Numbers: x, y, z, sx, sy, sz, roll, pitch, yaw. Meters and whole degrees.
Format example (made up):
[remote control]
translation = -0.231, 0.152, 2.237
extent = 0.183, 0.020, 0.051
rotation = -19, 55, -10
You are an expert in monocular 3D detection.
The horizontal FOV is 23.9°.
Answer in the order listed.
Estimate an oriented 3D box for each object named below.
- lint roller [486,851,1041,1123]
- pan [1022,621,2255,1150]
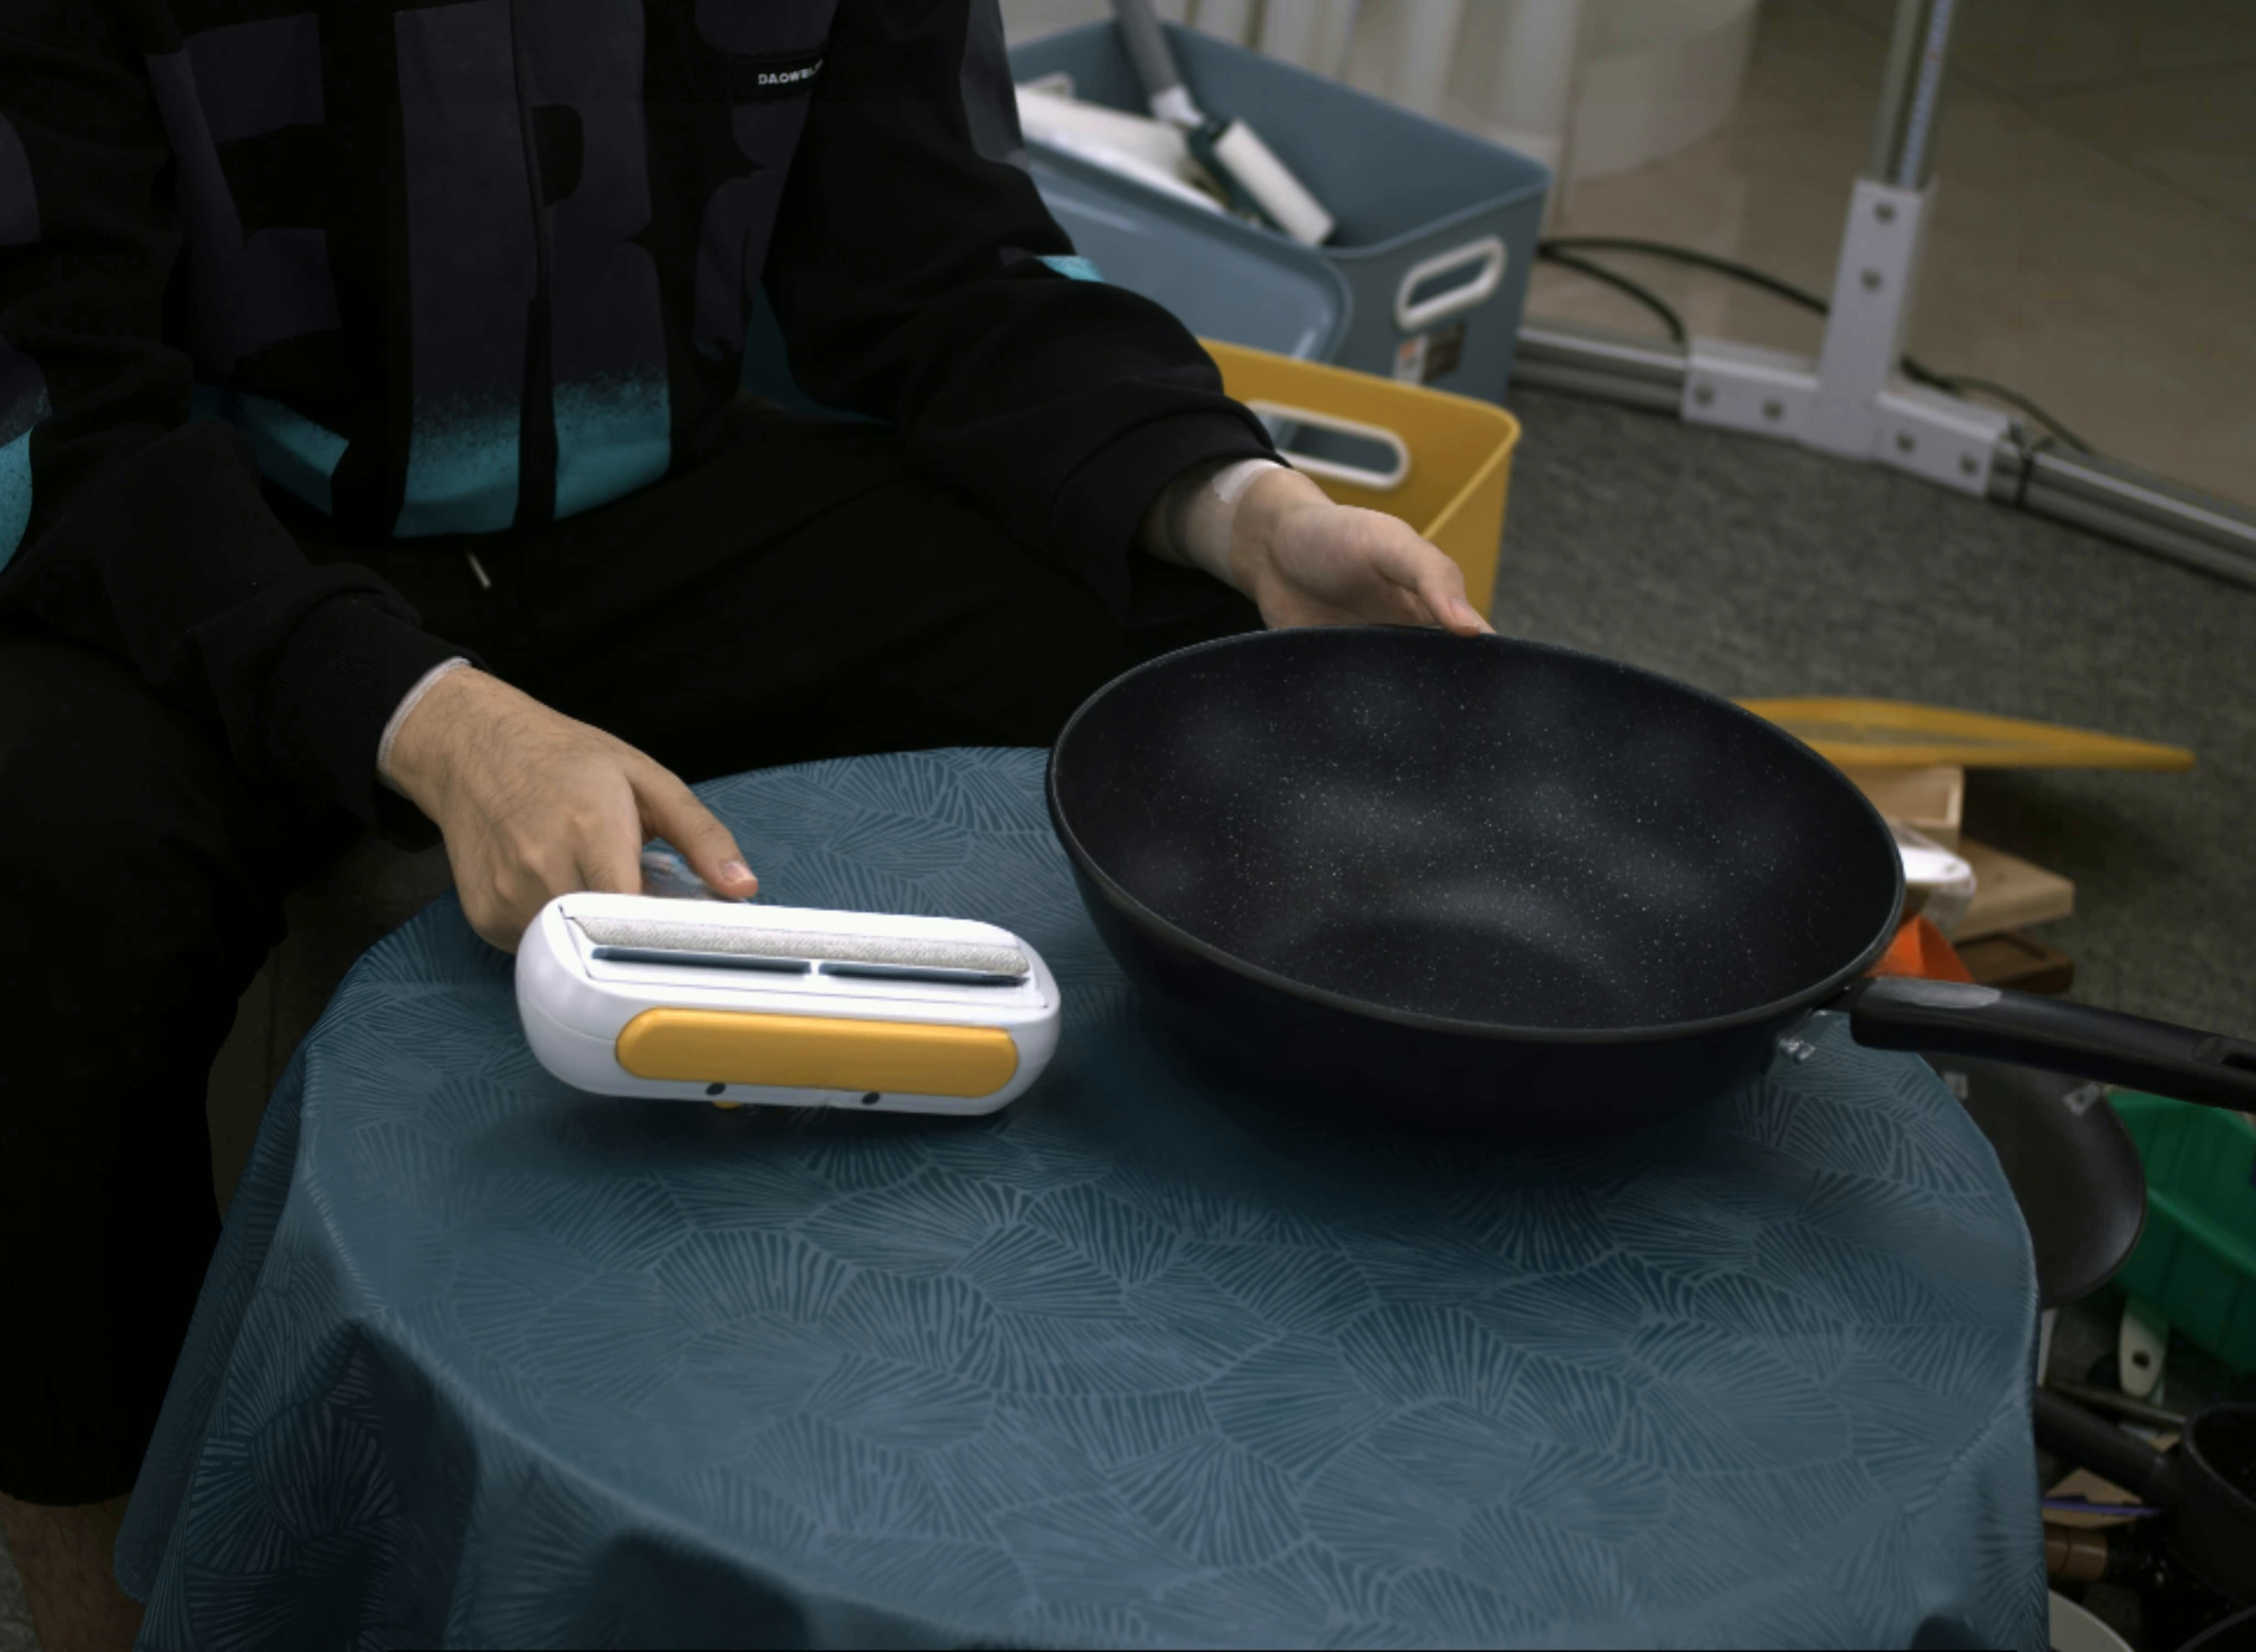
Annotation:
[lint roller]
translation = -0.141, 0.042, 1.854
extent = 0.191, 0.074, 0.194
rotation = 2, 25, -21
[pan]
translation = 0.182, 0.051, 1.865
extent = 0.479, 0.111, 0.309
rotation = 22, 33, 29
